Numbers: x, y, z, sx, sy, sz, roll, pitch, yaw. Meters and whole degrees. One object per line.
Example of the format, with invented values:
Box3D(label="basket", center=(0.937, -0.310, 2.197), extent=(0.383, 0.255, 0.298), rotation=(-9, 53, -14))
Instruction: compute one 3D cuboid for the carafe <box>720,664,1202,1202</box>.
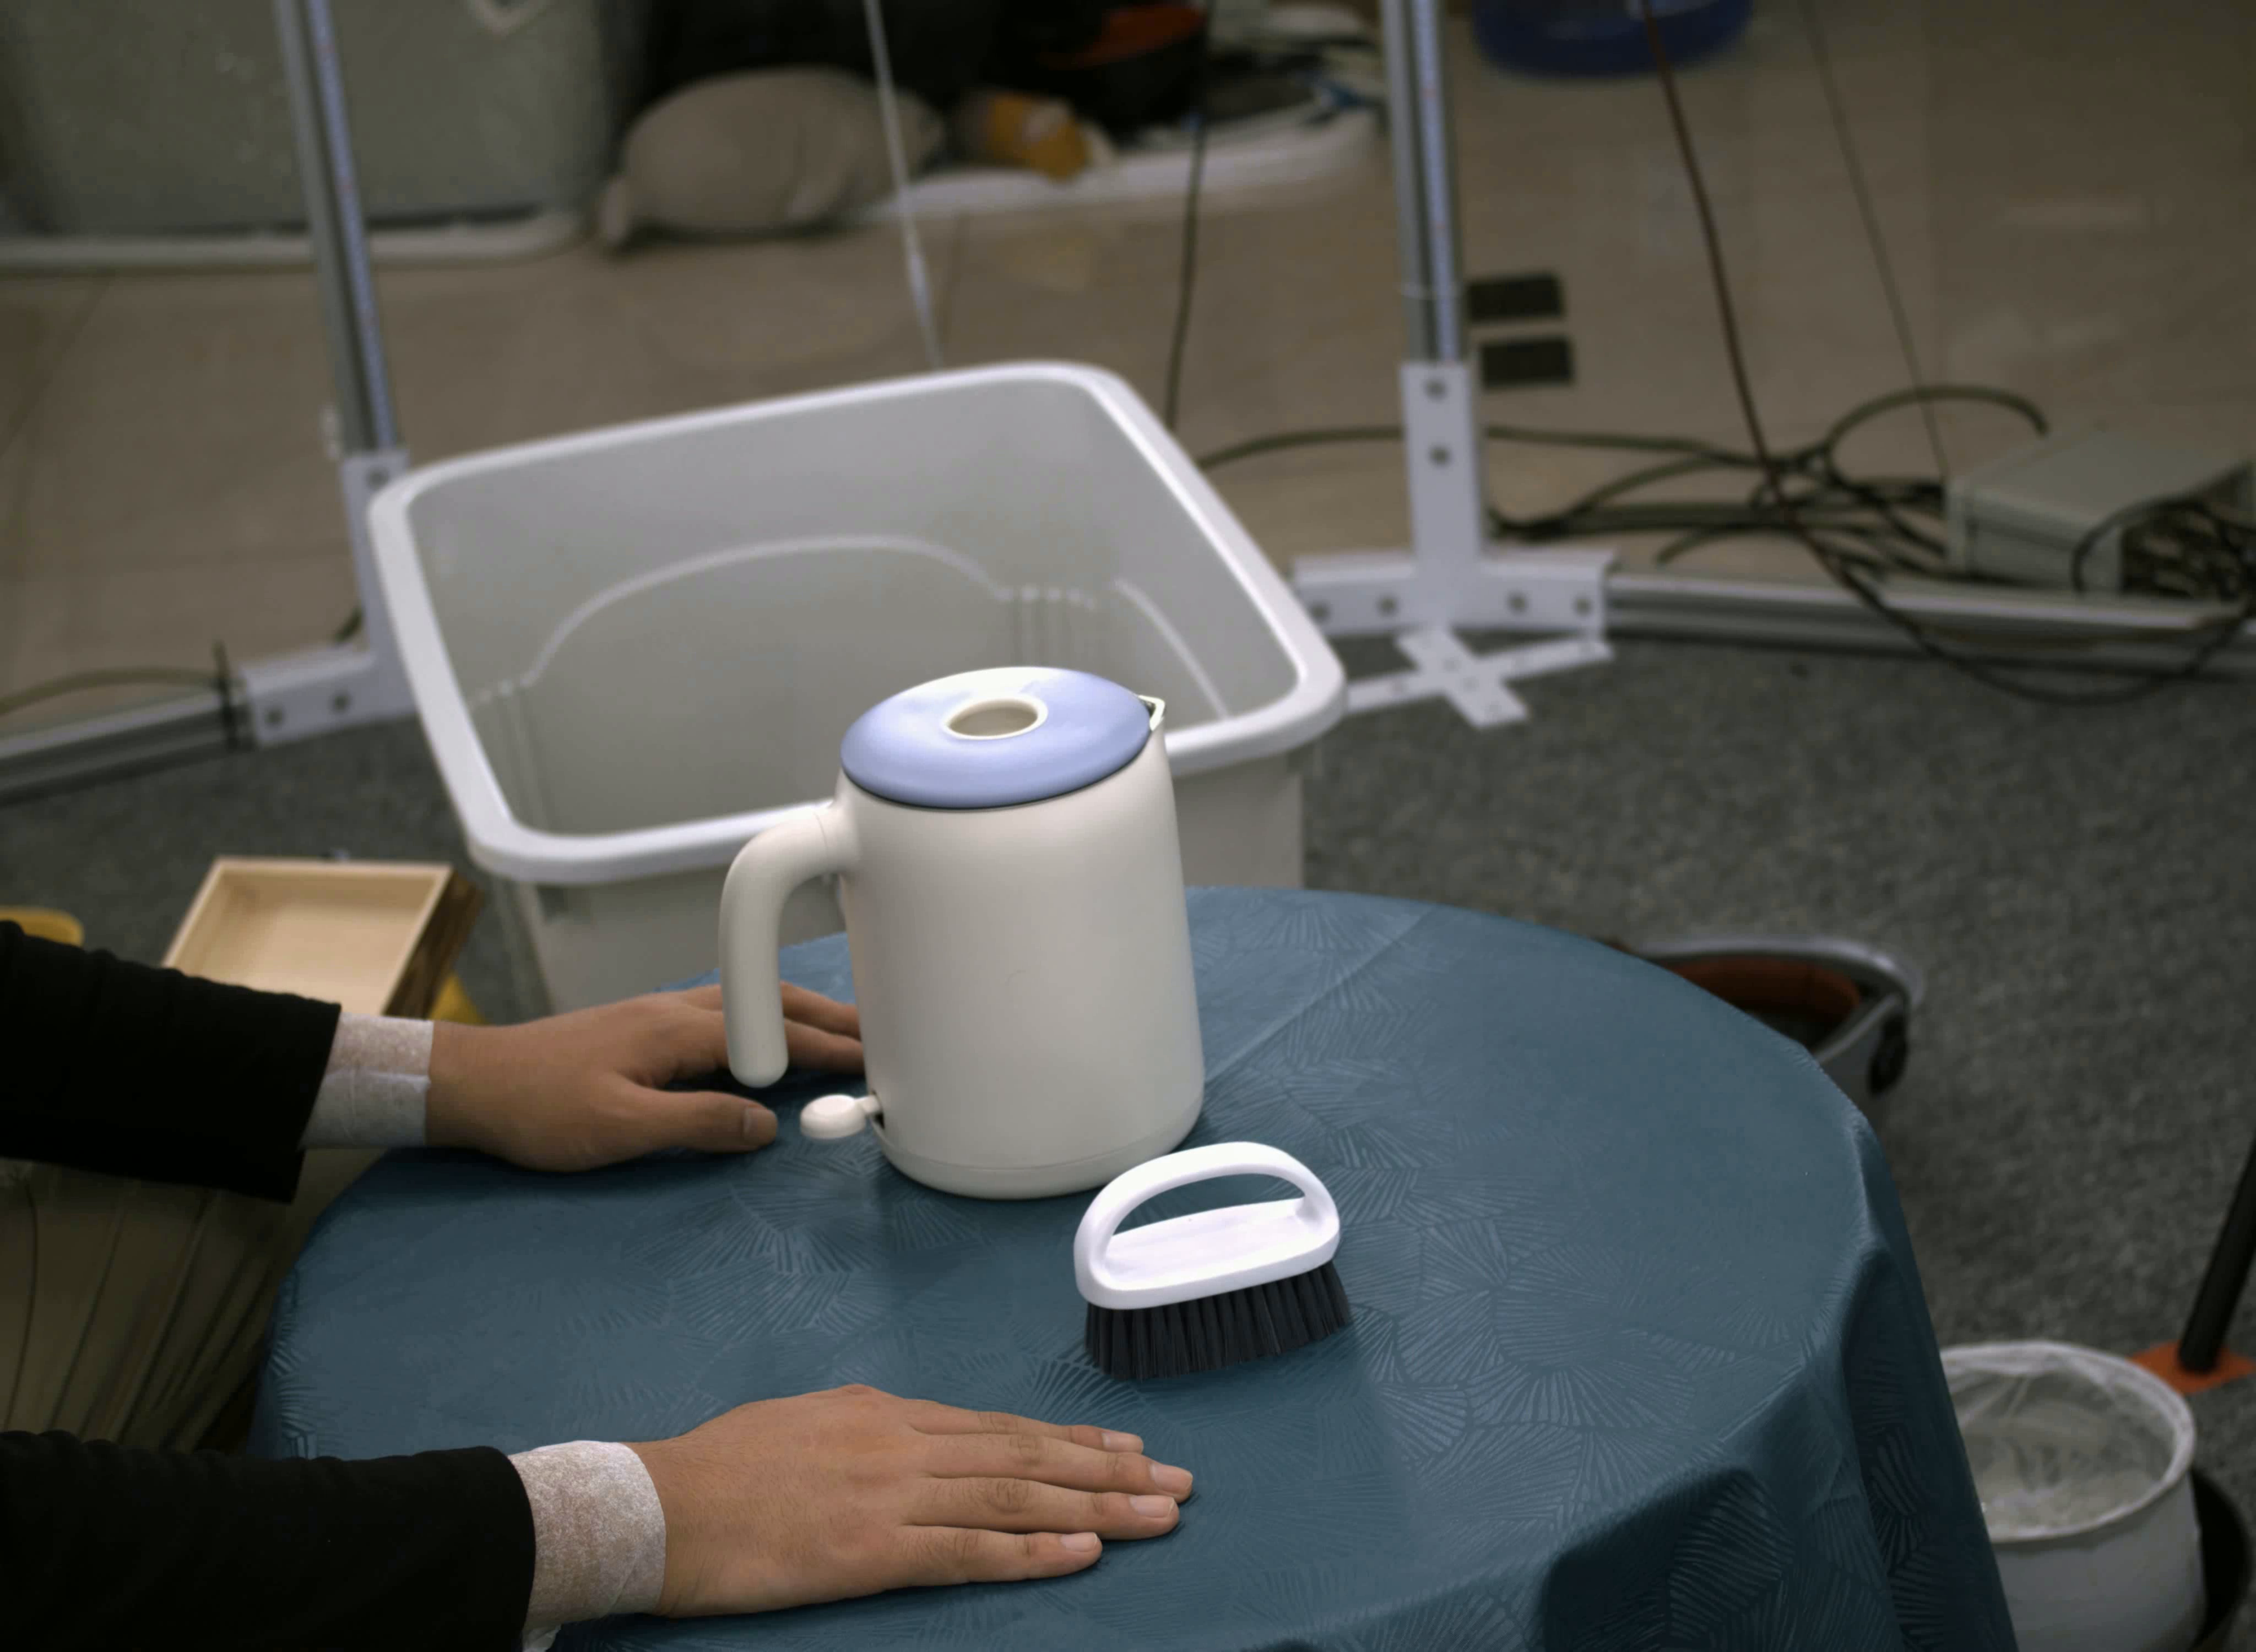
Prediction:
Box3D(label="carafe", center=(-0.066, 0.046, 2.157), extent=(0.190, 0.185, 0.130), rotation=(-16, 27, -17))

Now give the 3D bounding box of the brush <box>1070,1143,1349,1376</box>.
Box3D(label="brush", center=(0.027, 0.150, 2.030), extent=(0.099, 0.073, 0.049), rotation=(-11, 26, -9))
